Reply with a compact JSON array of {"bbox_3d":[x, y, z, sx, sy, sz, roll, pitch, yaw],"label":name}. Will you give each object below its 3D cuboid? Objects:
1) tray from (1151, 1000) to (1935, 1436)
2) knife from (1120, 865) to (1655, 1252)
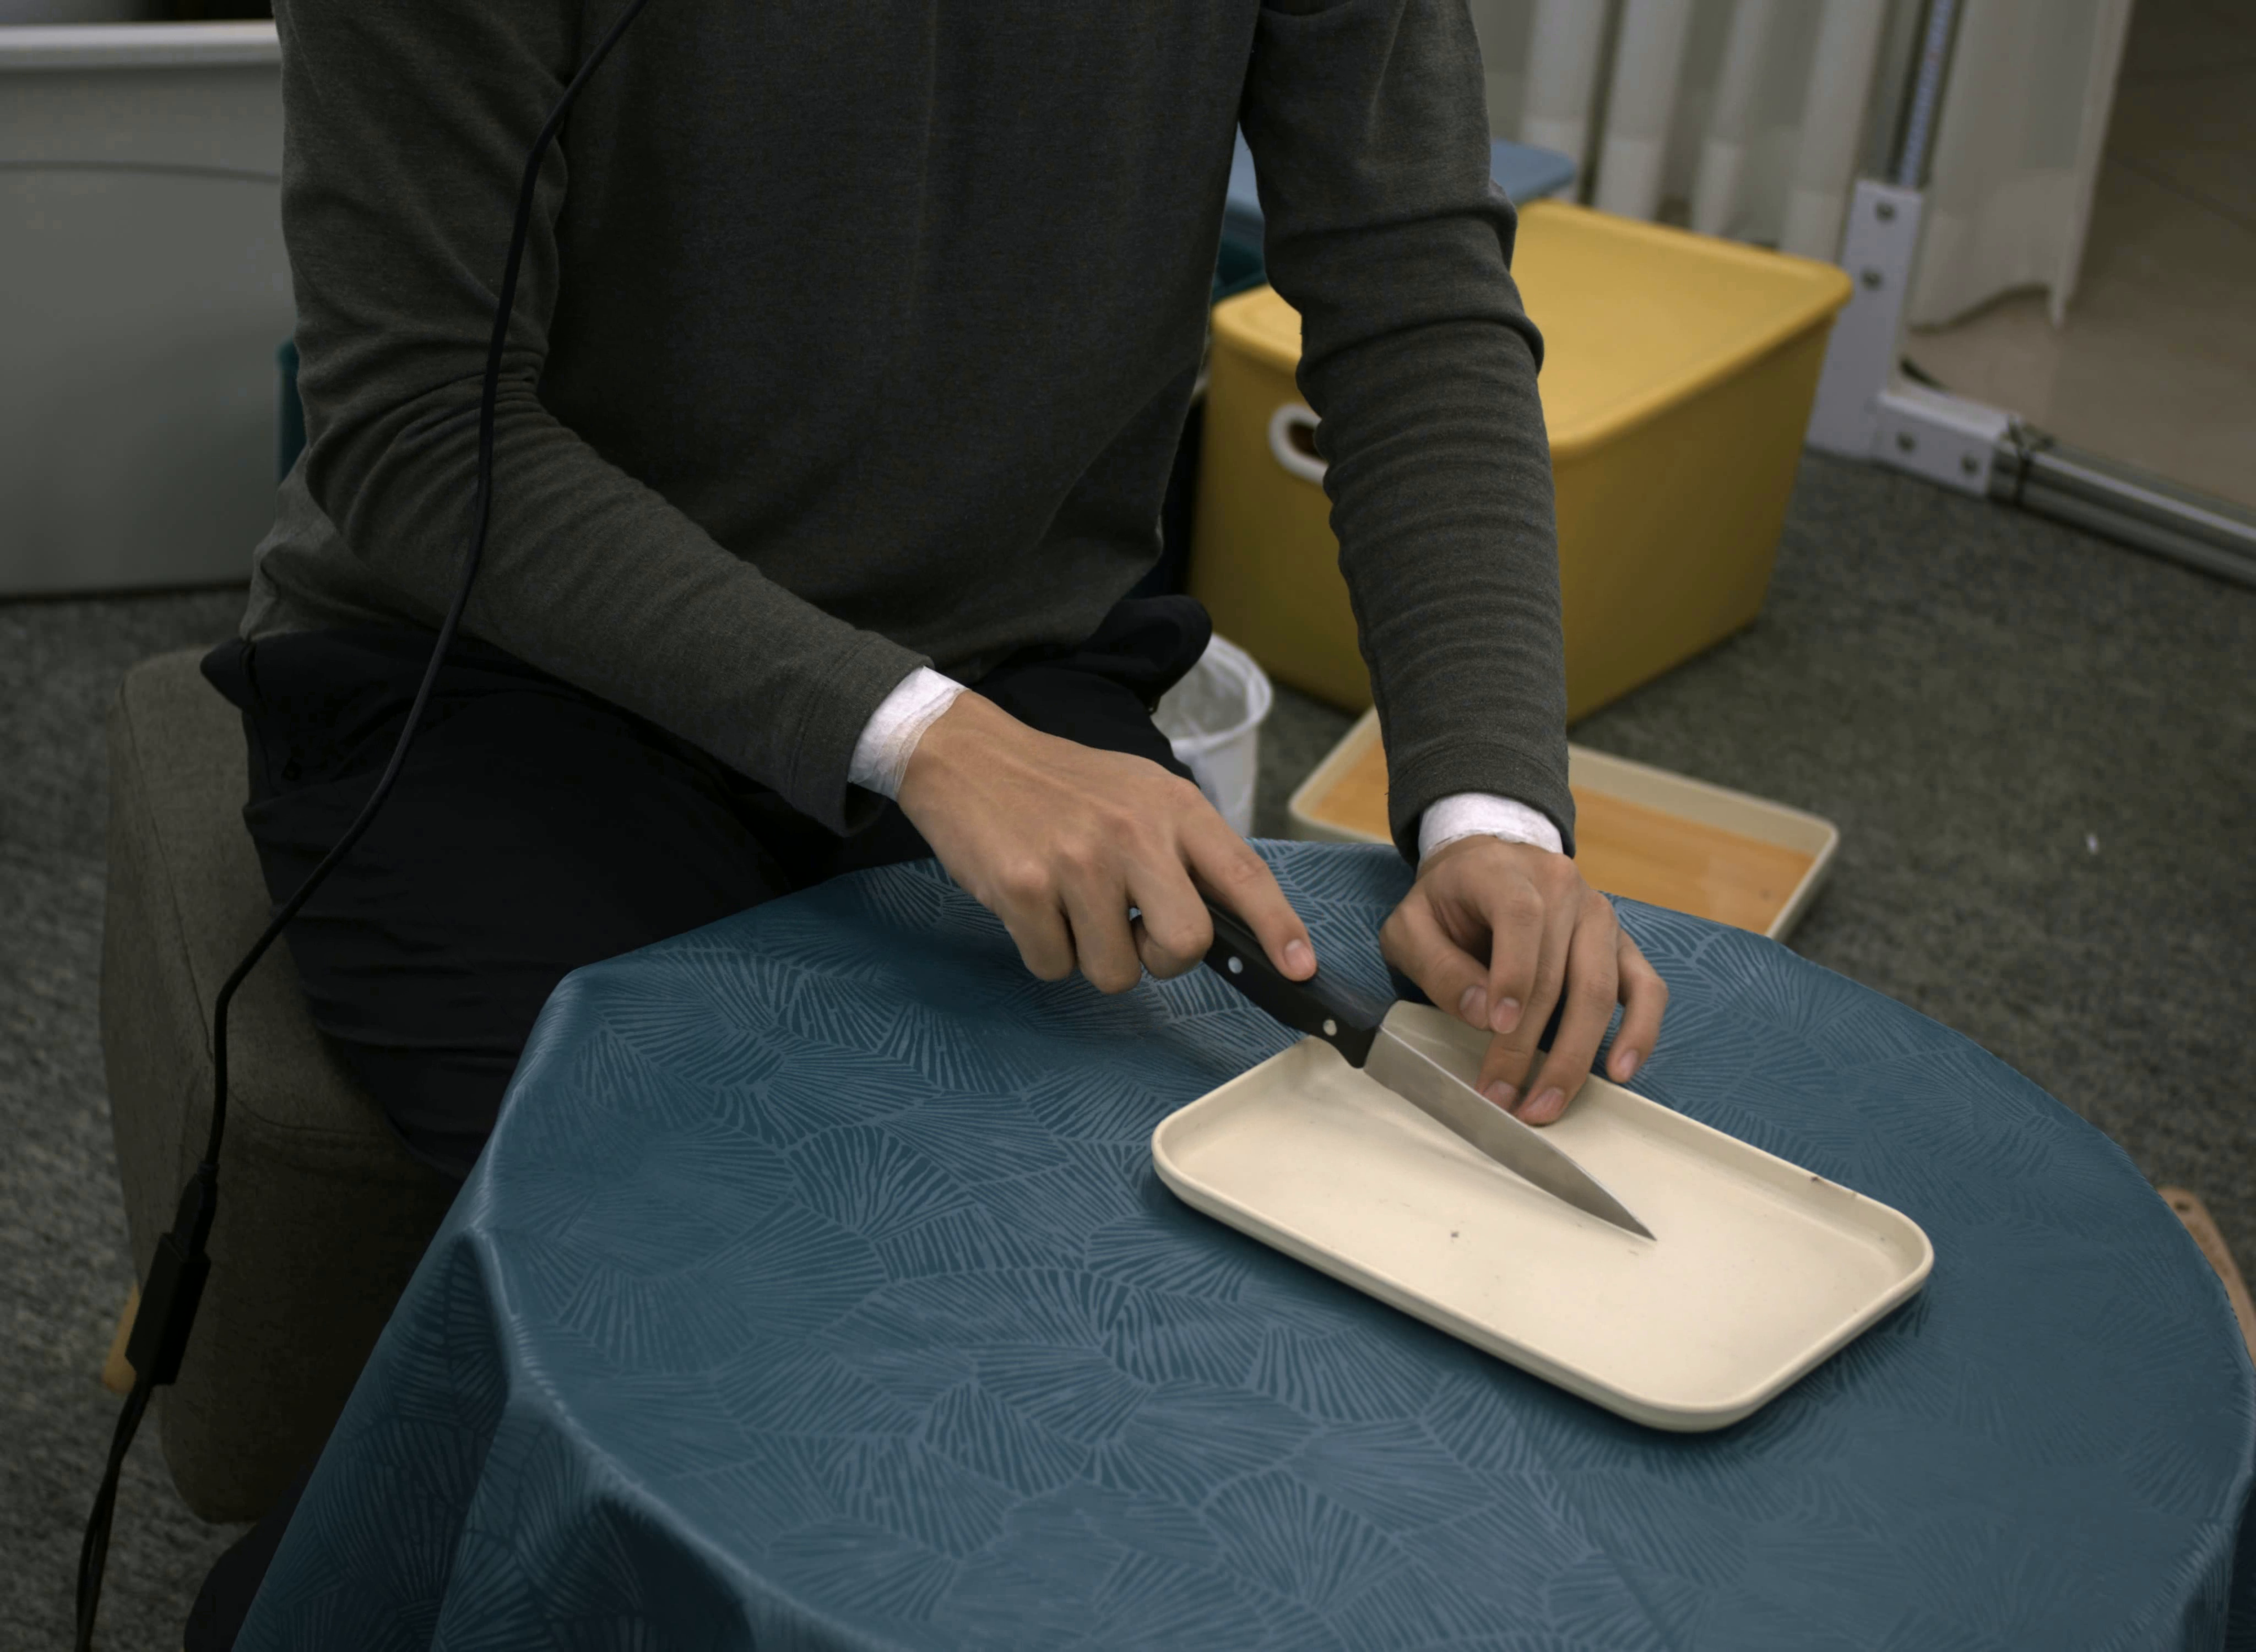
[{"bbox_3d":[0.139,0.131,1.803,0.241,0.017,0.170,24,32,31],"label":"tray"},{"bbox_3d":[0.090,0.079,1.851,0.239,0.024,0.016,35,39,24],"label":"knife"}]
